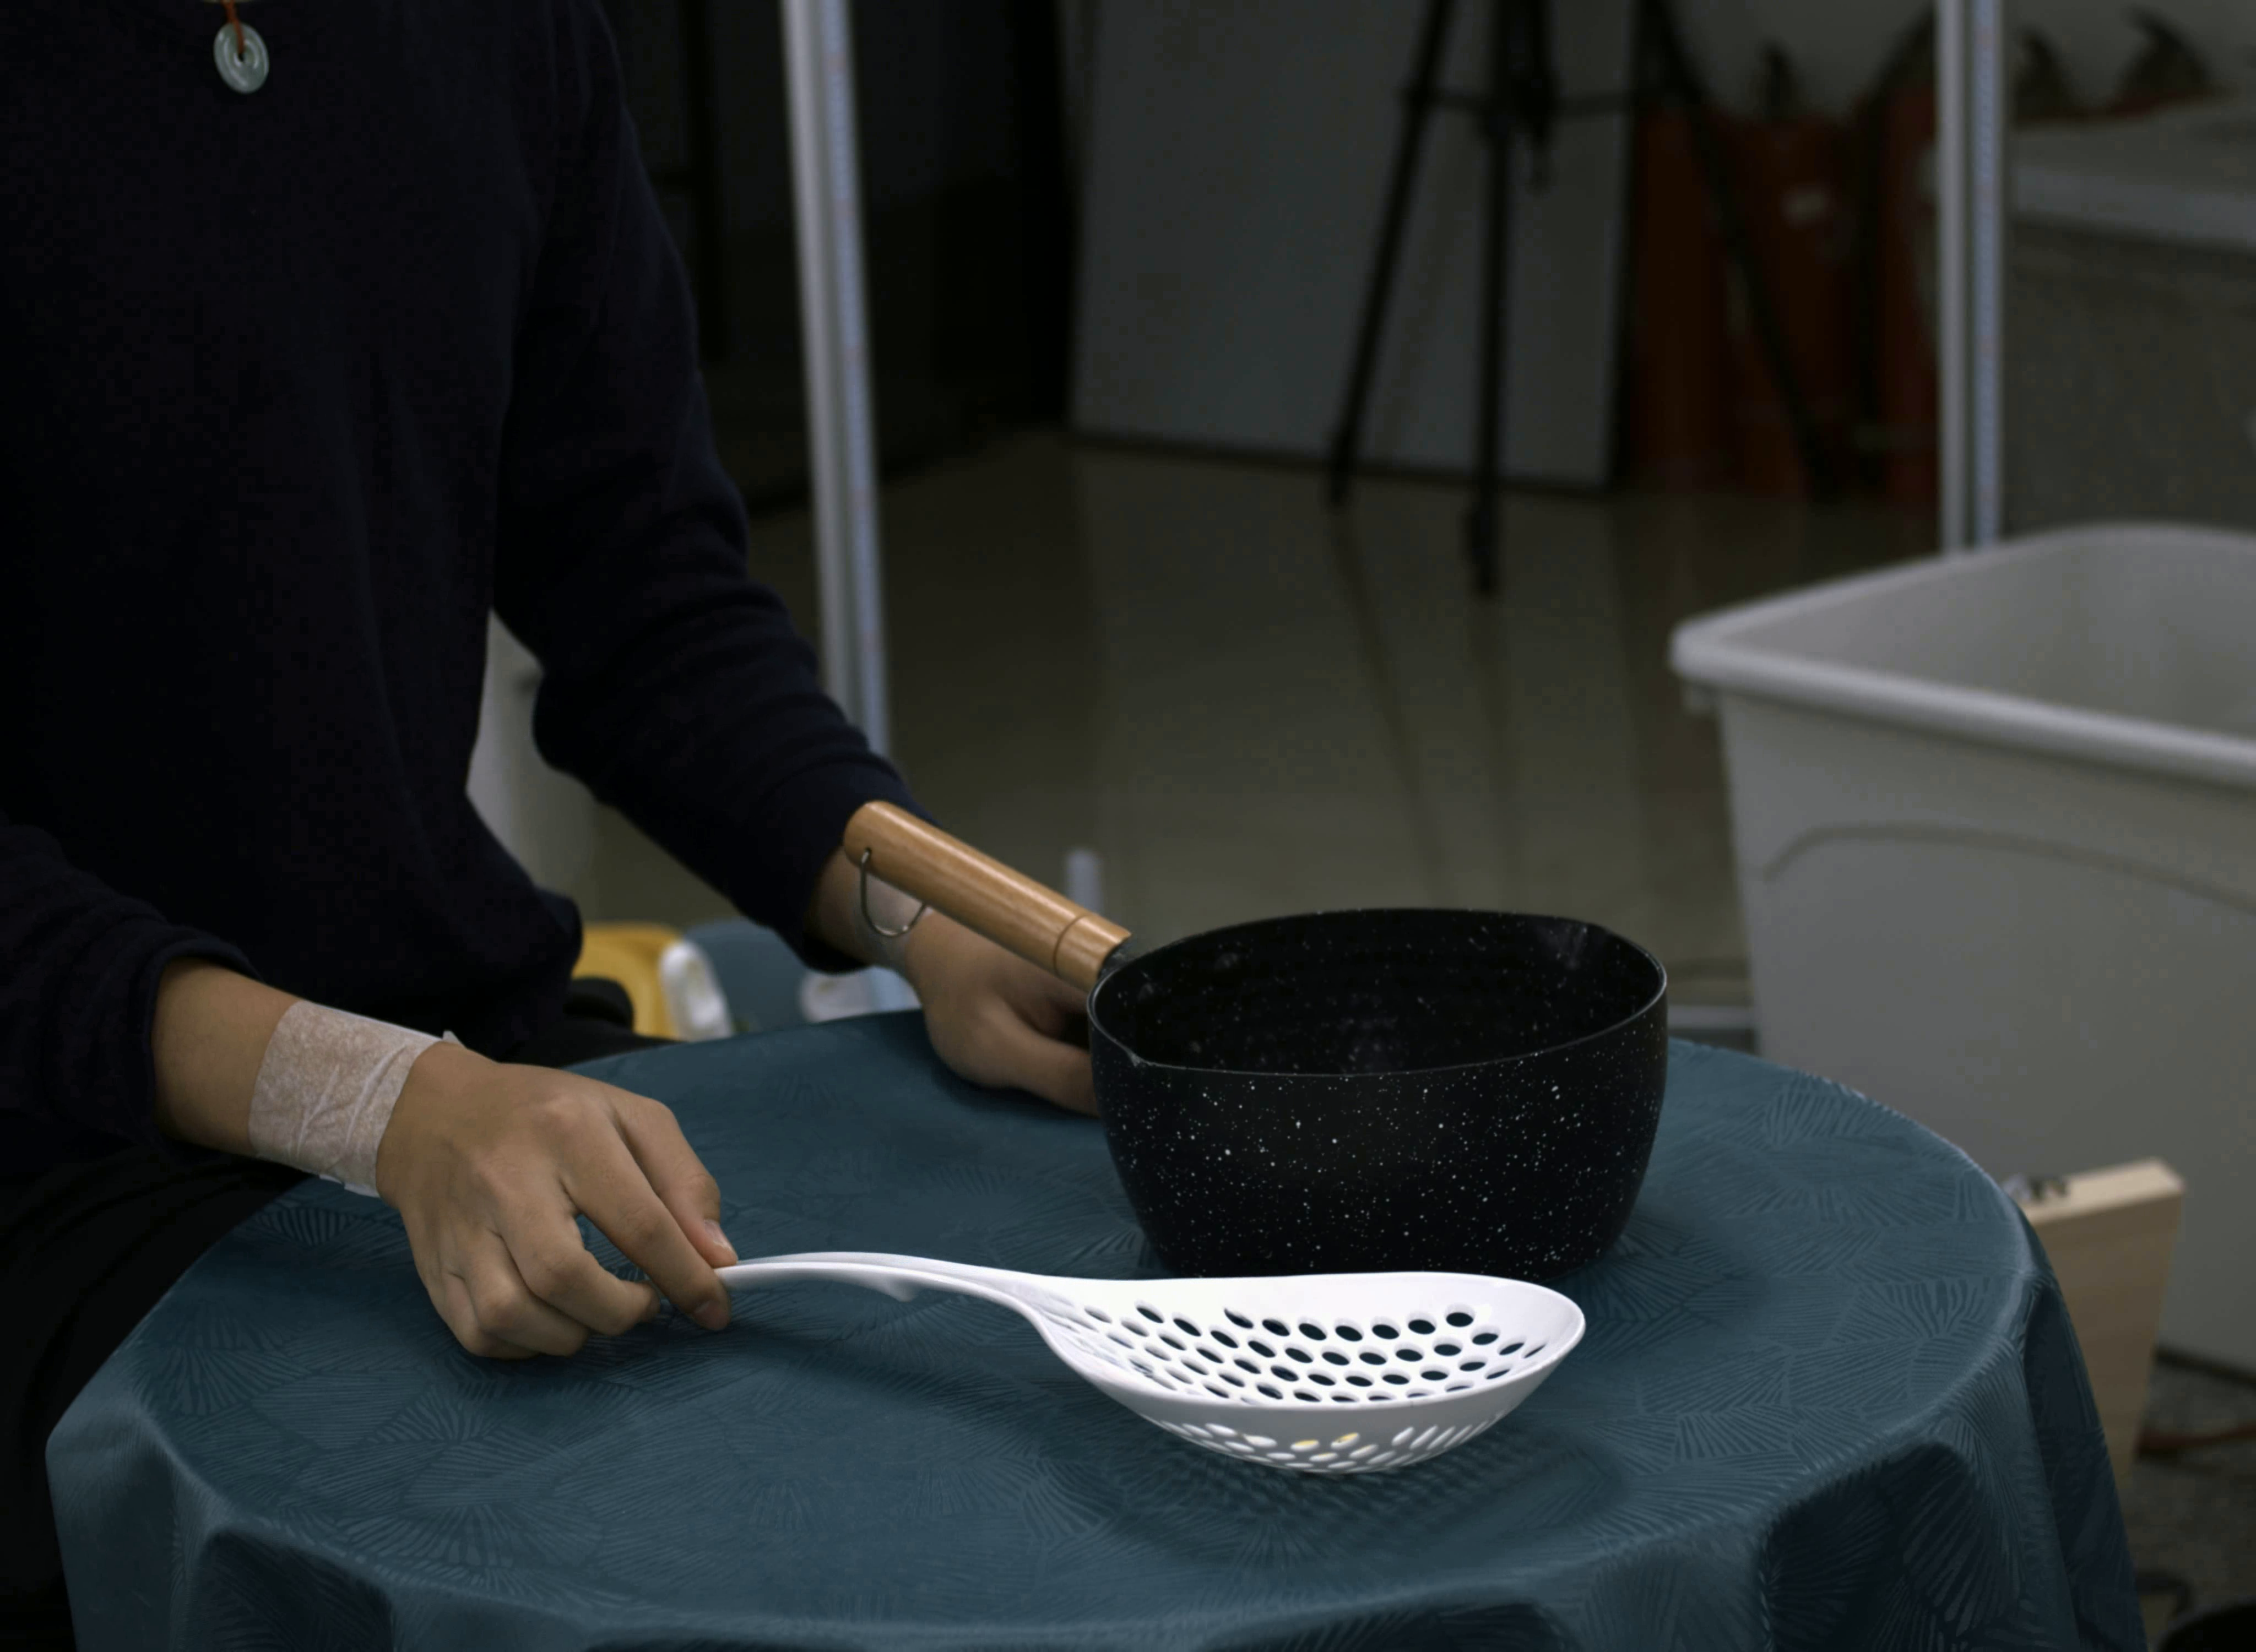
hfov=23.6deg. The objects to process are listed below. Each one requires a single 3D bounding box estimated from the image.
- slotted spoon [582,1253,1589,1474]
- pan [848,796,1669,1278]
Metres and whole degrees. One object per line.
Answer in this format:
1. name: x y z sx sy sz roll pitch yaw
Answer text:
1. slotted spoon: -0.025 0.147 1.582 0.350 0.051 0.134 8 16 37
2. pan: 0.025 0.068 1.752 0.203 0.109 0.346 -17 20 -40
